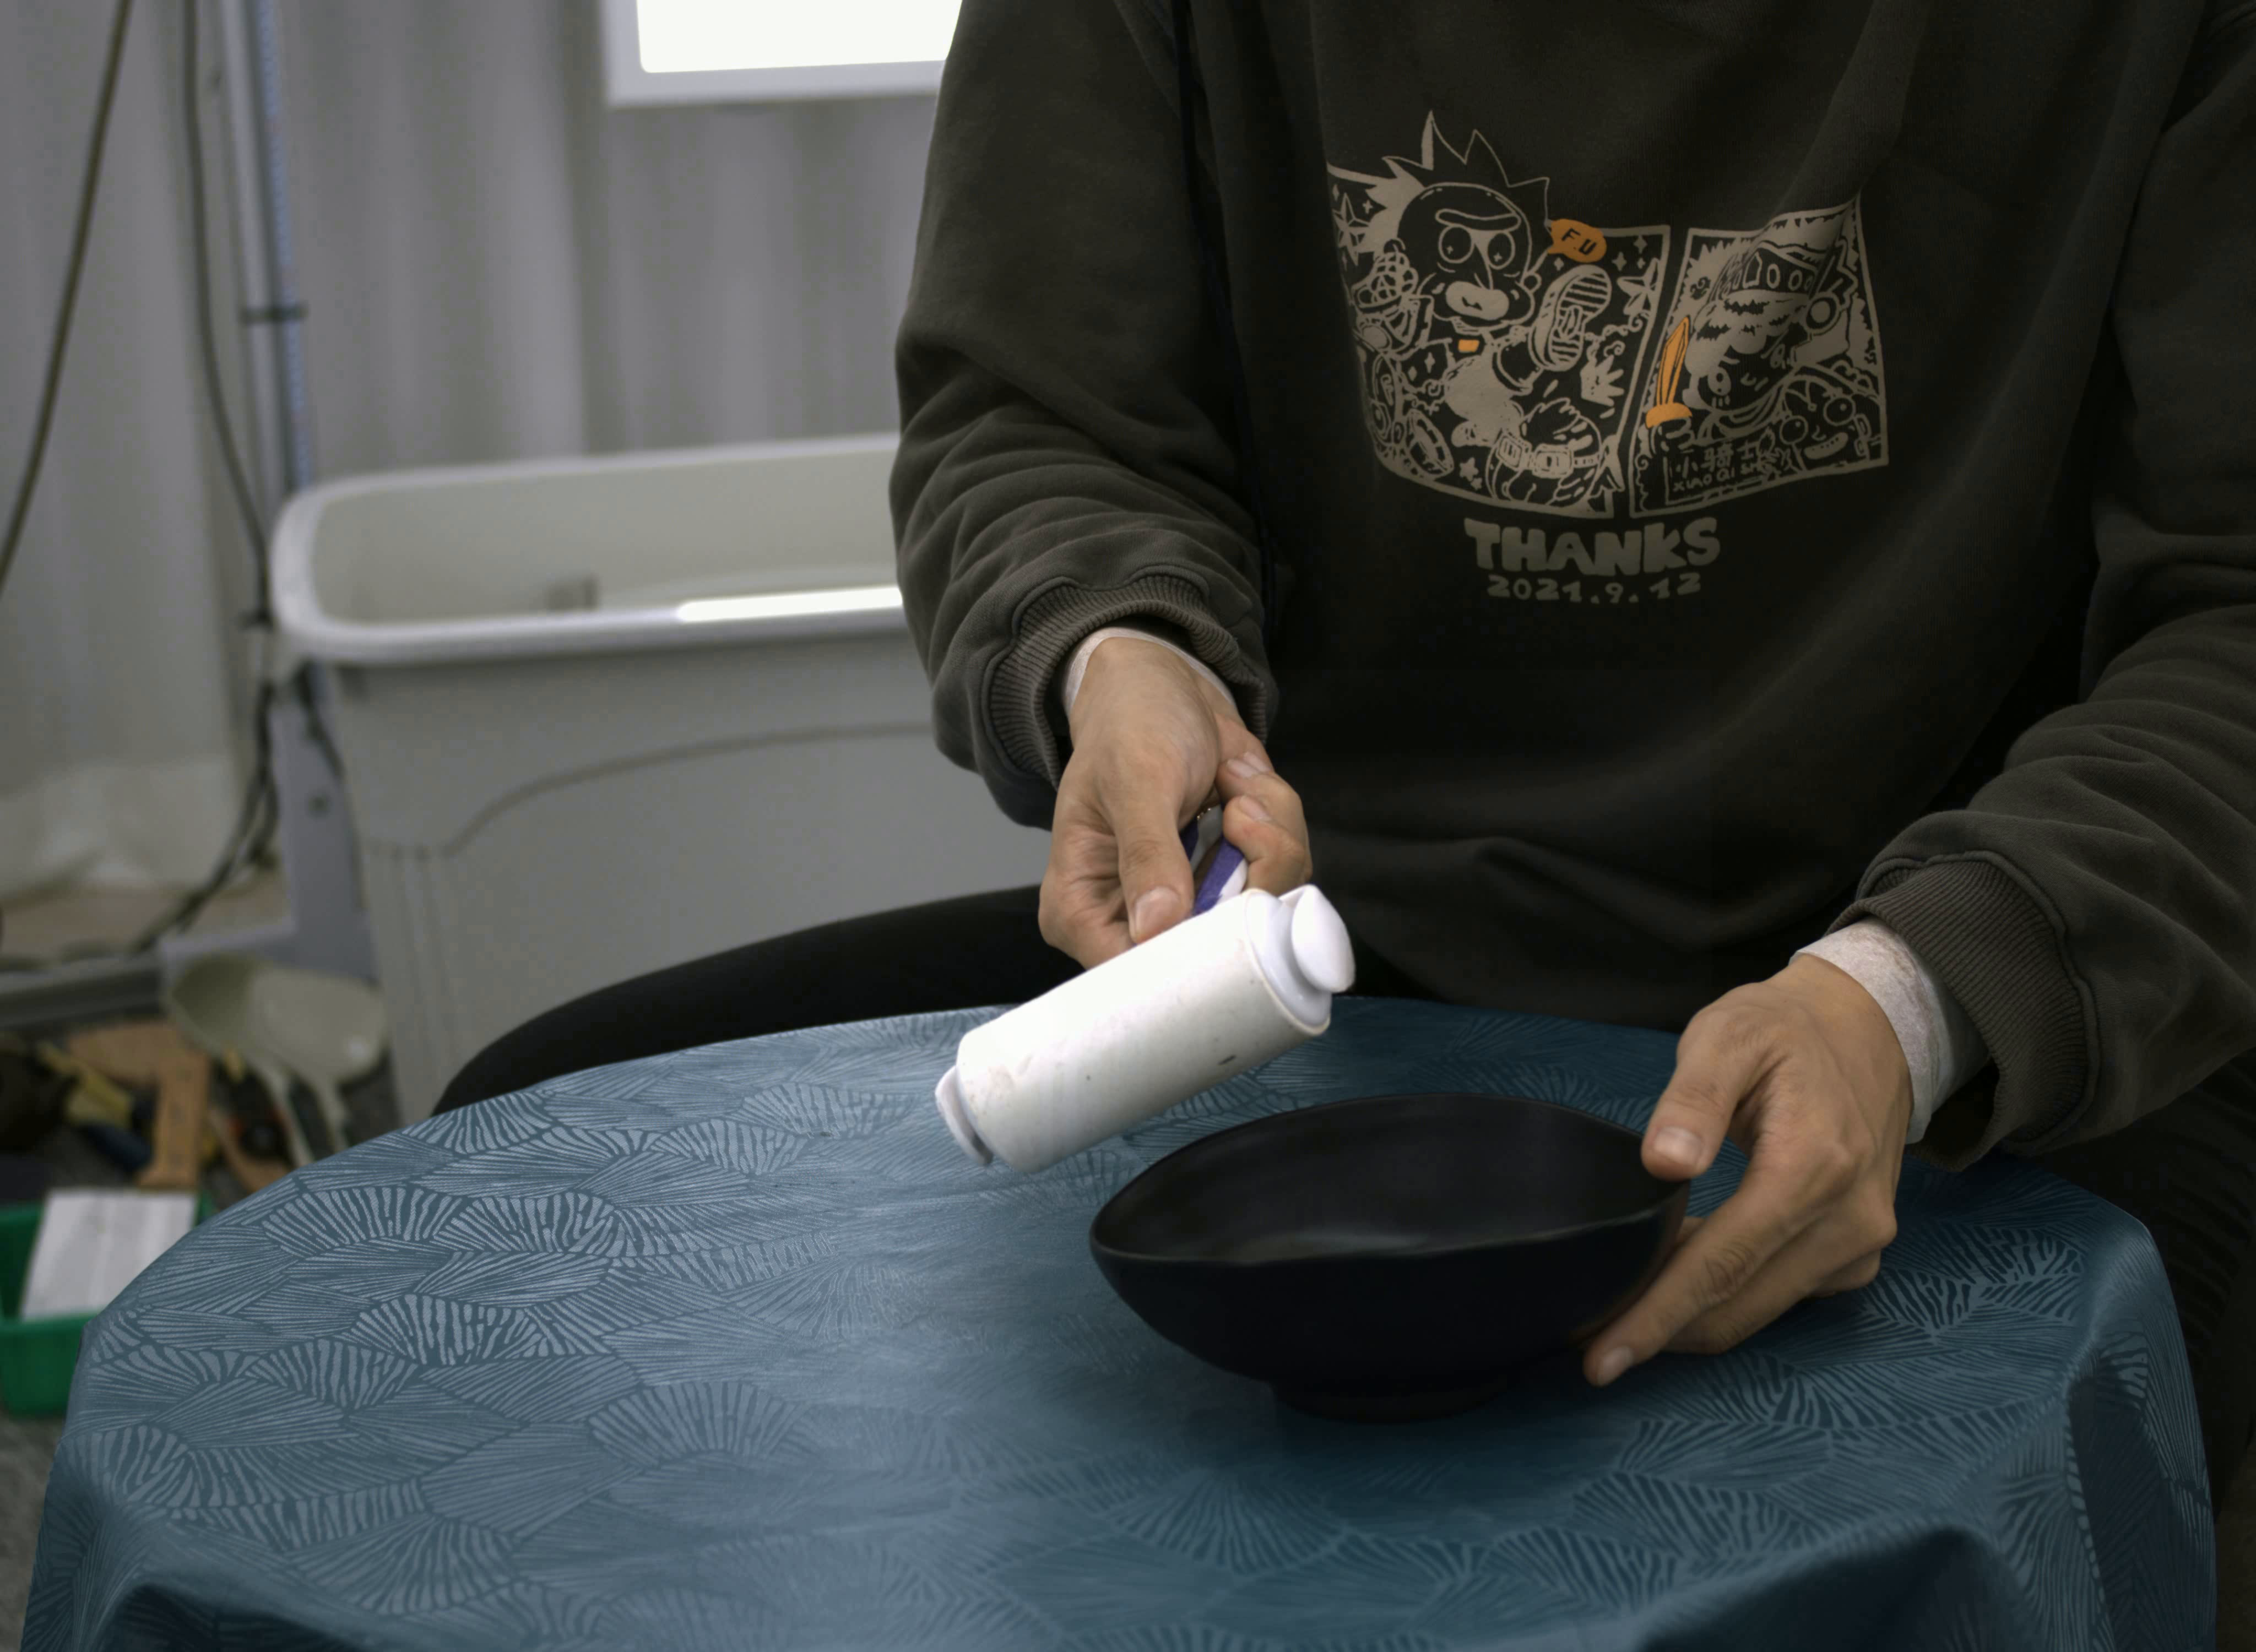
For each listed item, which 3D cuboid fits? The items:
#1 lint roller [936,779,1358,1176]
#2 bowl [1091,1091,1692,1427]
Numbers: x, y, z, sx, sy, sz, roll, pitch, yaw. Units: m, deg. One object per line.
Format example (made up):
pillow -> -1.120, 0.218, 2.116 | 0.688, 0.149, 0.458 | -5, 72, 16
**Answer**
lint roller -> 0.012, 0.024, 1.628 | 0.132, 0.049, 0.183 | -27, 27, 23
bowl -> 0.076, 0.128, 1.538 | 0.169, 0.066, 0.138 | -5, 14, -3
